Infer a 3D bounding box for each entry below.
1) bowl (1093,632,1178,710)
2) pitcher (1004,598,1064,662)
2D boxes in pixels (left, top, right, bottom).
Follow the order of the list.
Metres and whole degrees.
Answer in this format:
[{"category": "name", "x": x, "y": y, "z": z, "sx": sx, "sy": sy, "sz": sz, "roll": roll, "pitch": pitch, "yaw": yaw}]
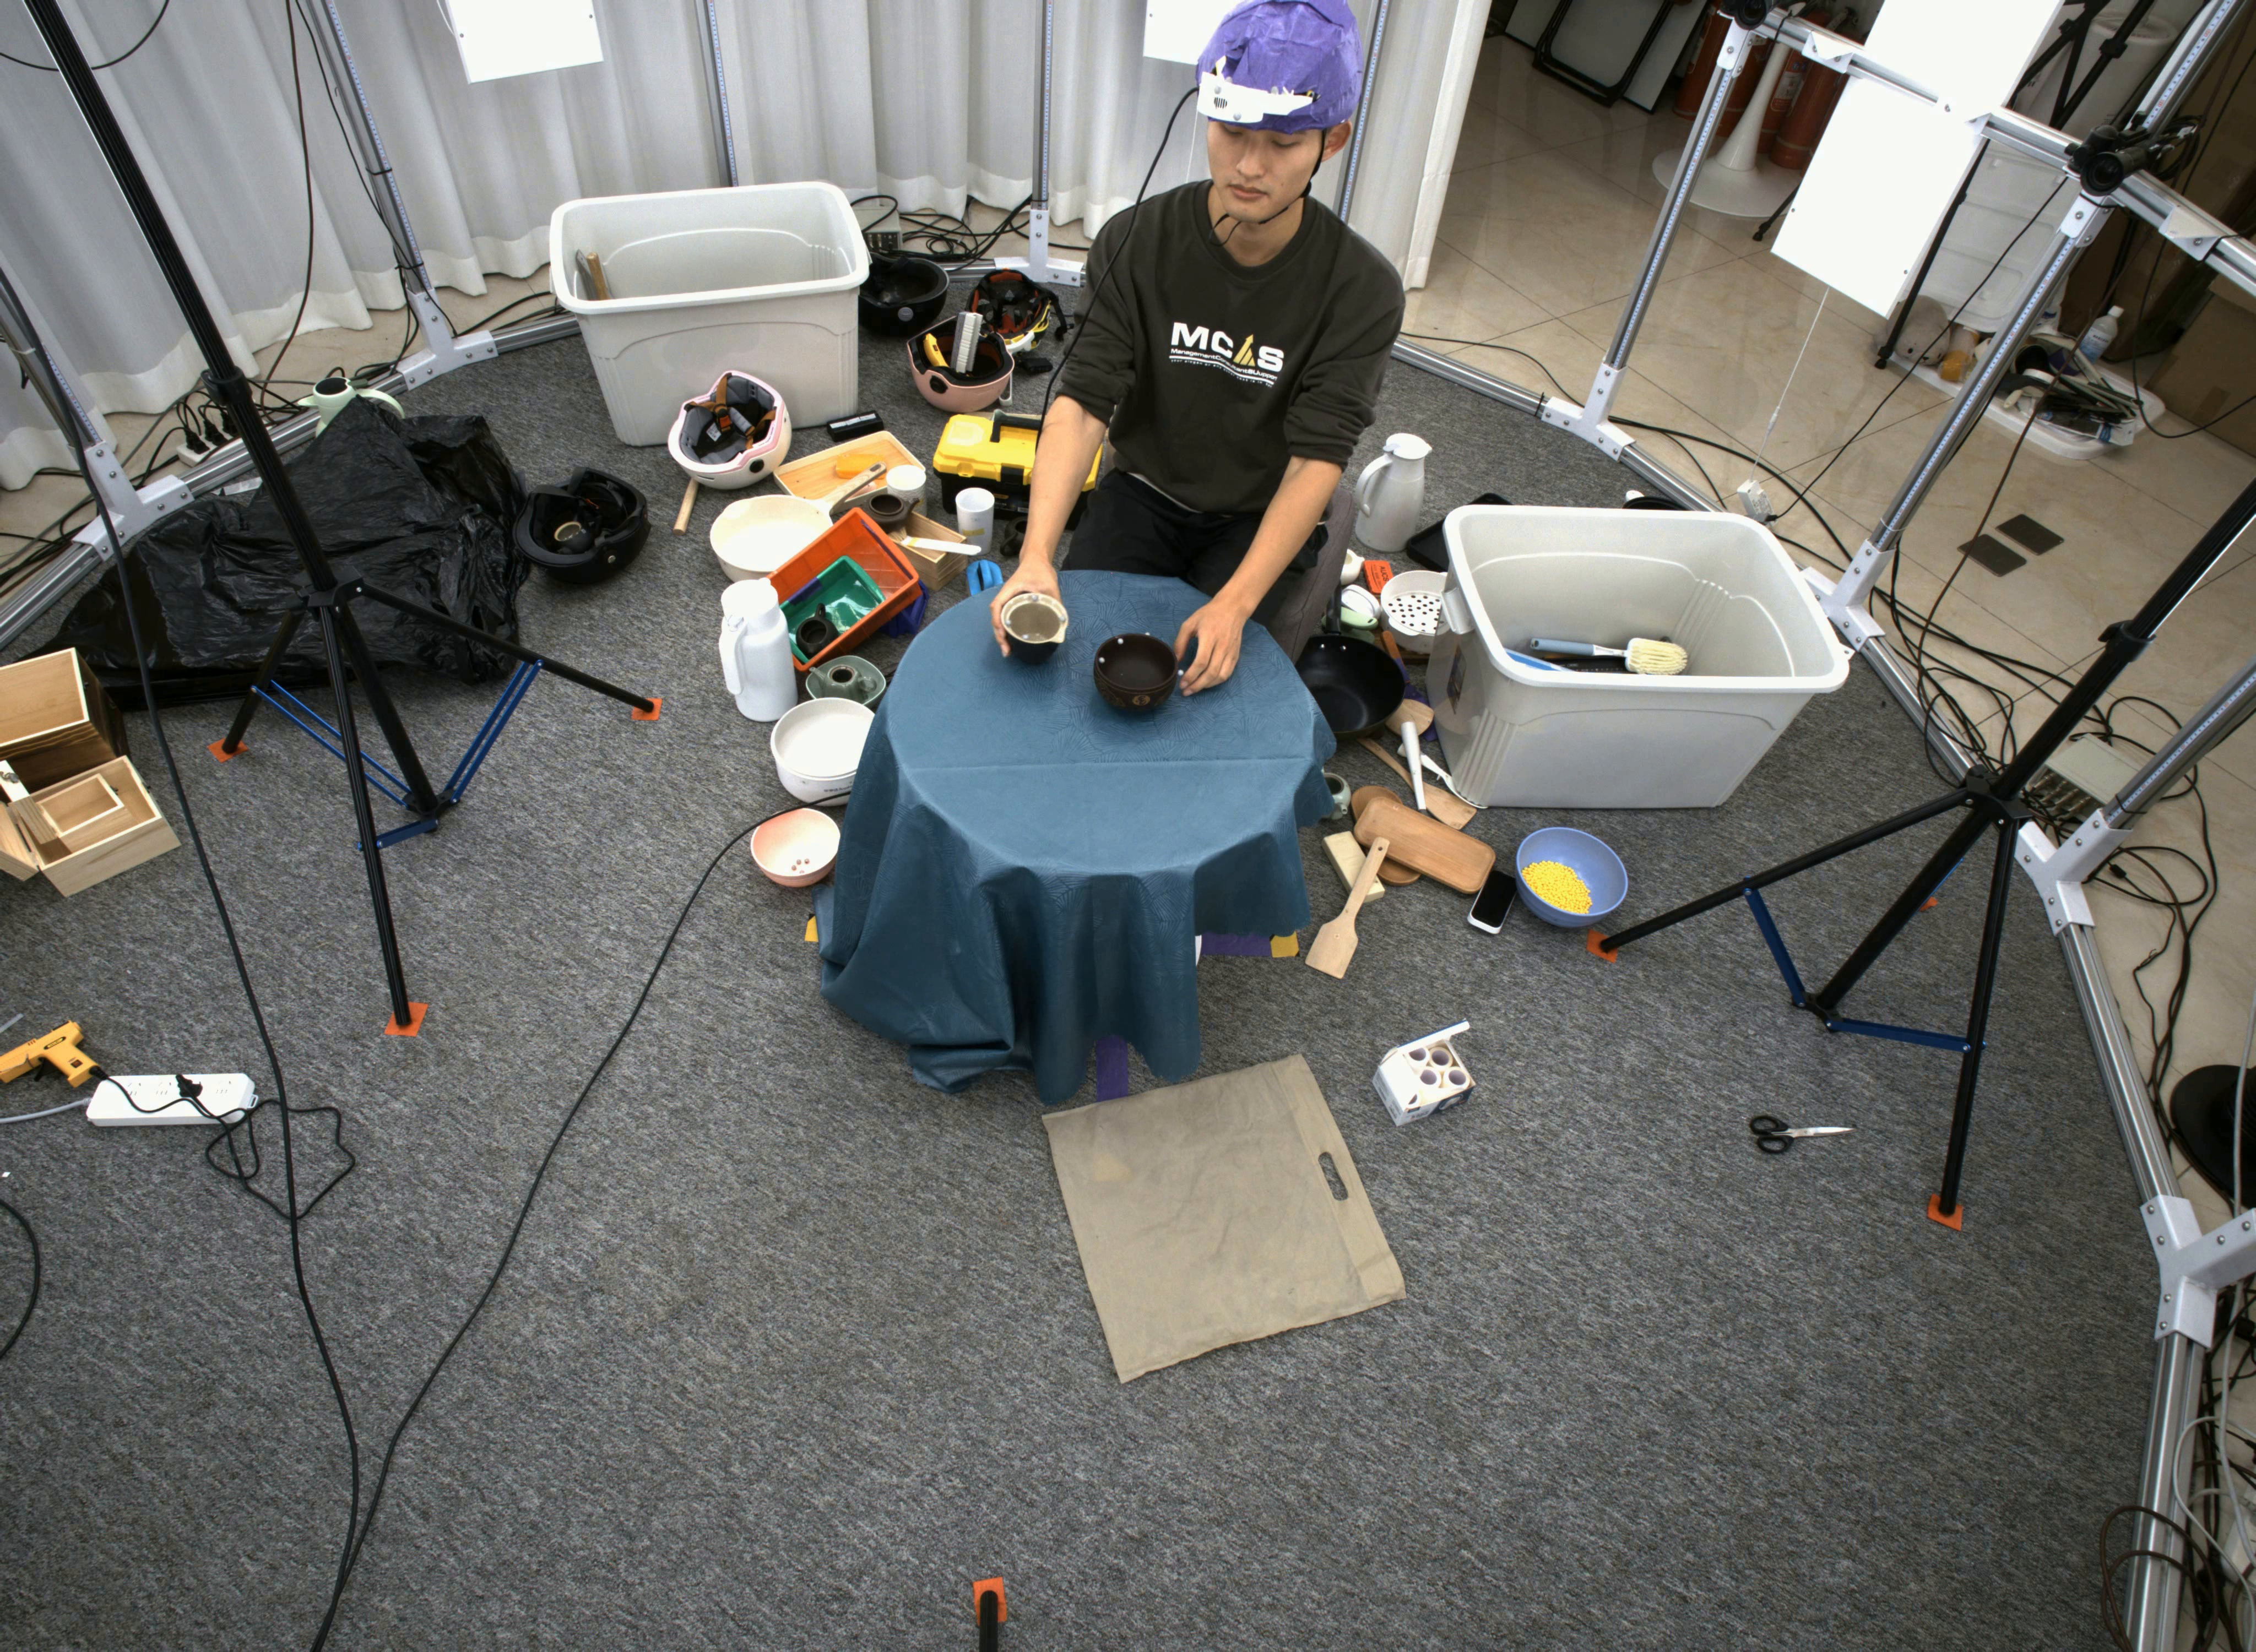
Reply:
[{"category": "bowl", "x": 0.010, "y": -0.209, "z": 1.801, "sx": 0.118, "sy": 0.068, "sz": 0.121, "roll": 1, "pitch": 50, "yaw": -2}, {"category": "pitcher", "x": -0.132, "y": -0.274, "z": 1.836, "sx": 0.084, "sy": 0.070, "sz": 0.097, "roll": -31, "pitch": 64, "yaw": -27}]
